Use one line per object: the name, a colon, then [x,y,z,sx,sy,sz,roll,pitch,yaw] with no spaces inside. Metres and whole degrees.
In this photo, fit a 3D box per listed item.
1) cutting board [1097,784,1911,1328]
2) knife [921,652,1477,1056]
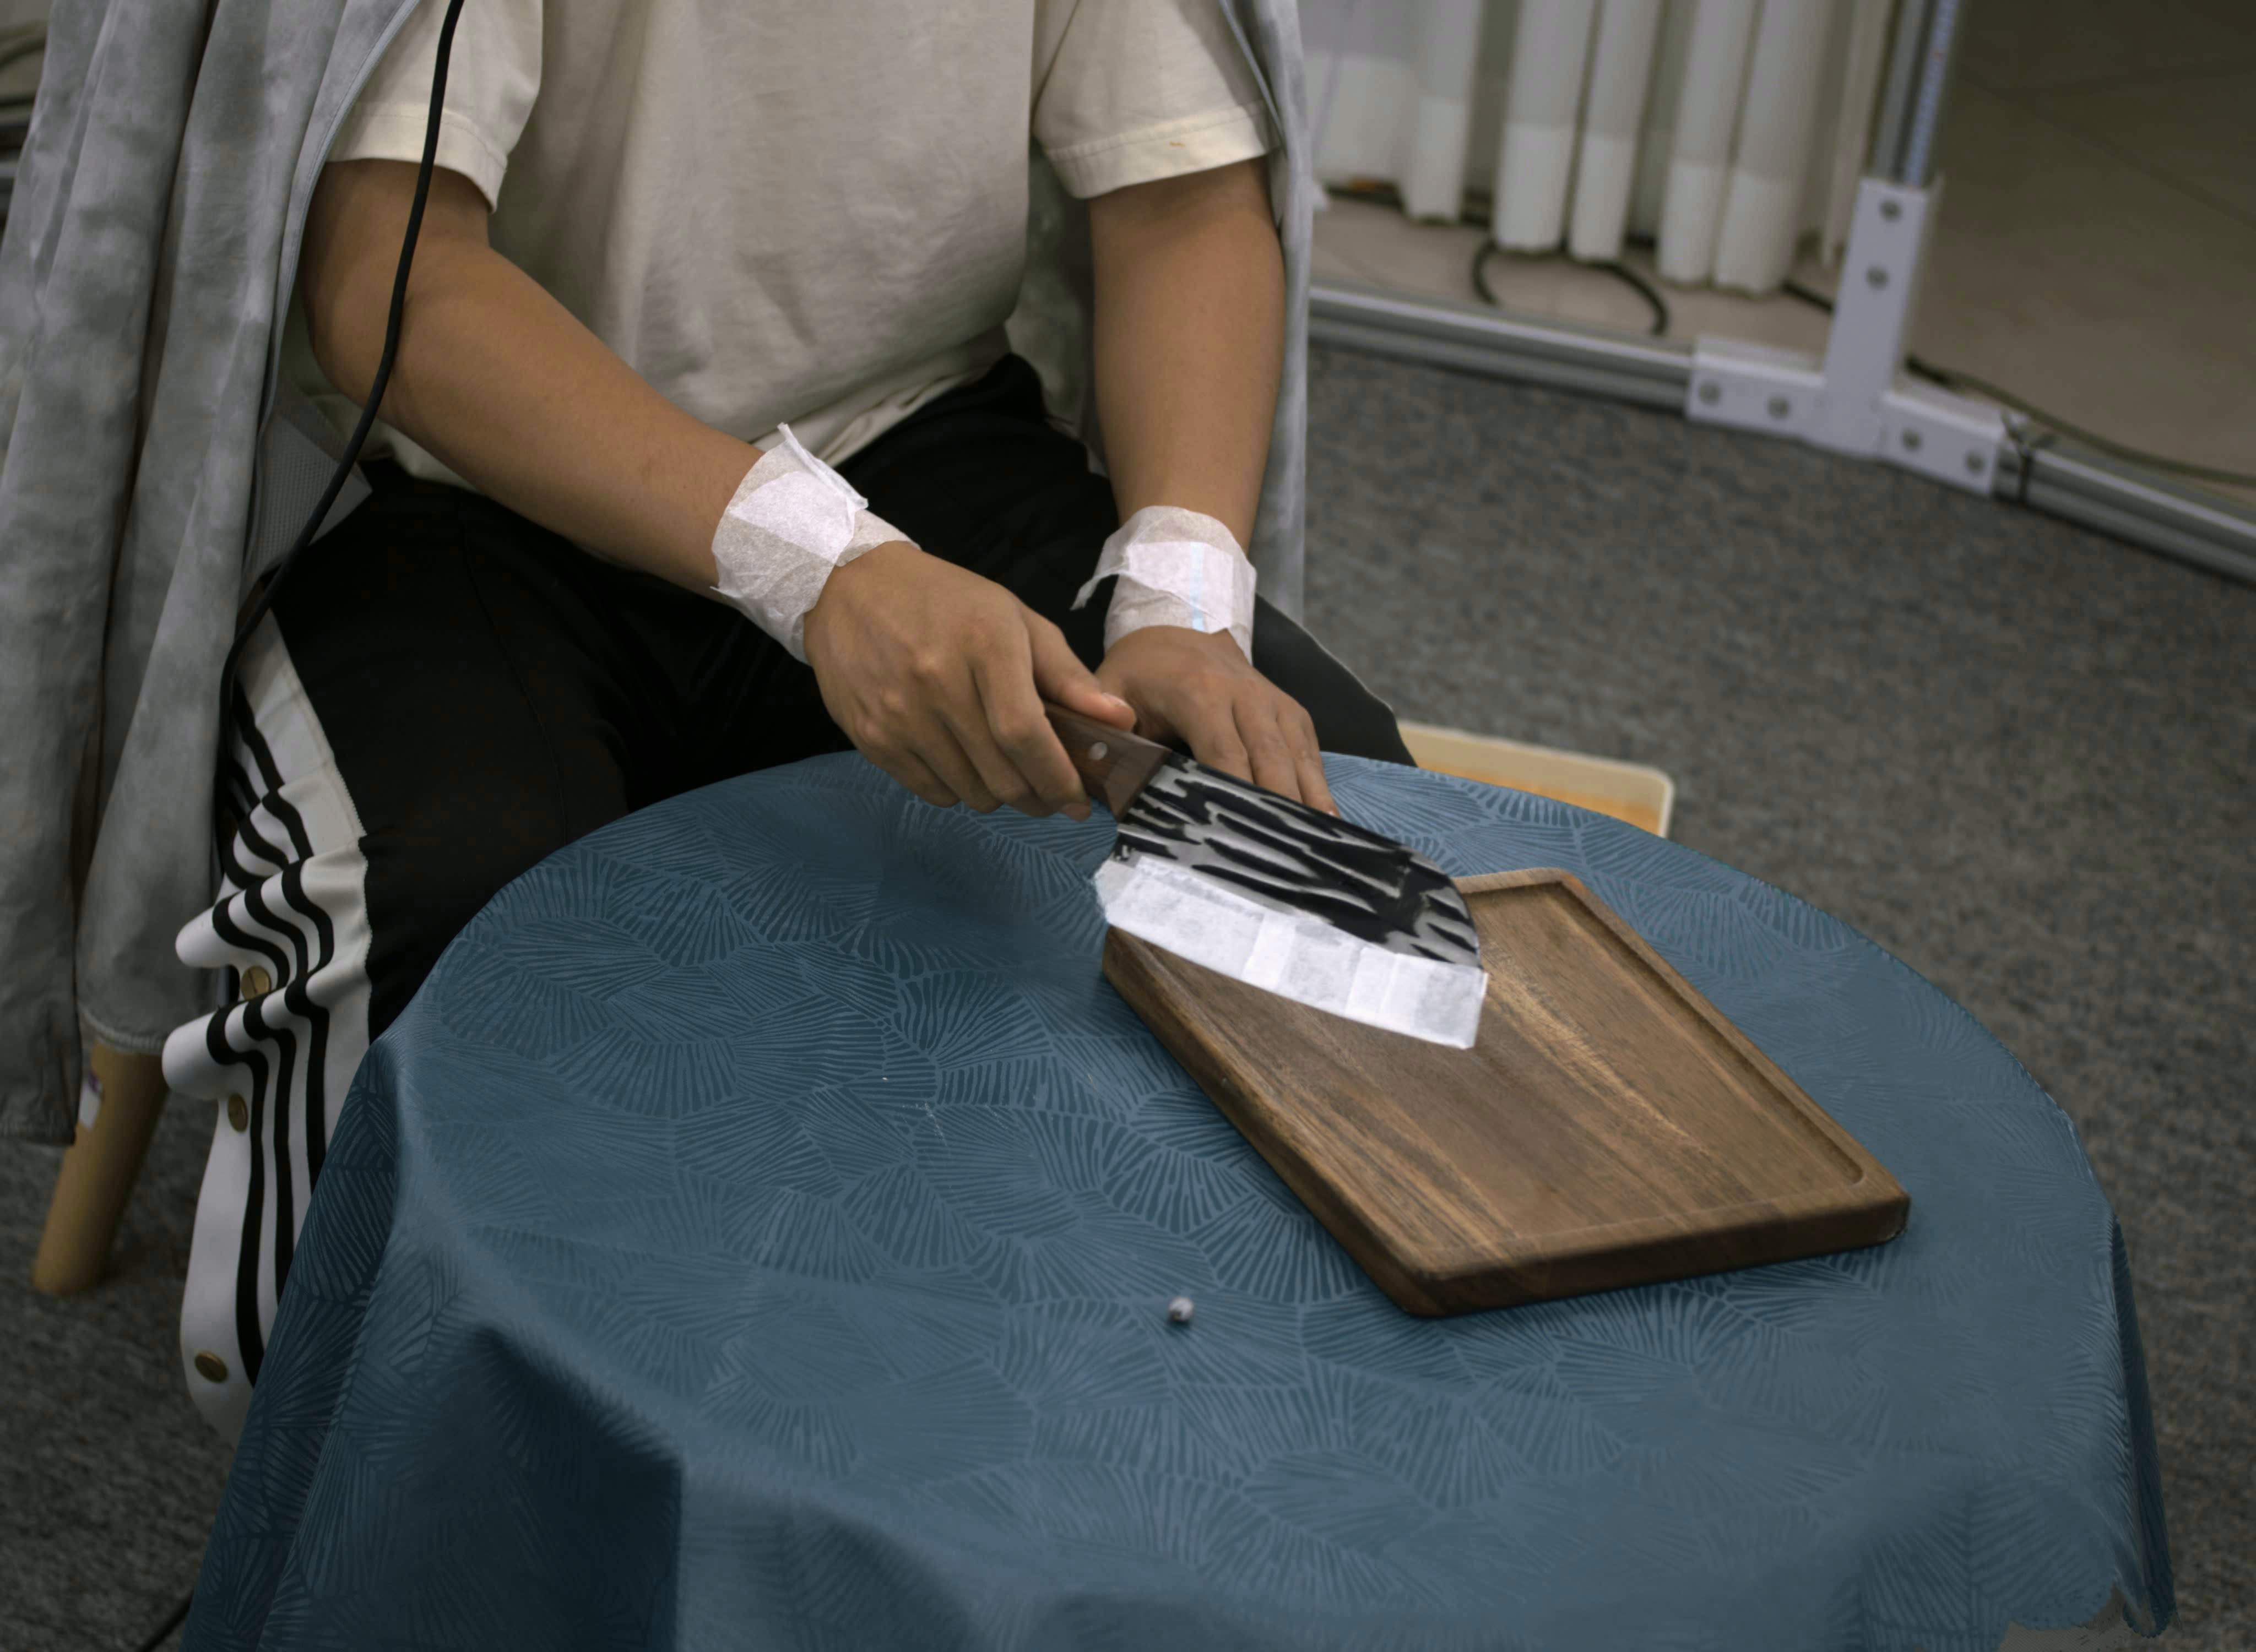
cutting board: [0.108,0.068,1.920,0.200,0.023,0.355,-9,30,-25]
knife: [0.020,0.008,1.902,0.302,0.068,0.024,26,-8,40]
